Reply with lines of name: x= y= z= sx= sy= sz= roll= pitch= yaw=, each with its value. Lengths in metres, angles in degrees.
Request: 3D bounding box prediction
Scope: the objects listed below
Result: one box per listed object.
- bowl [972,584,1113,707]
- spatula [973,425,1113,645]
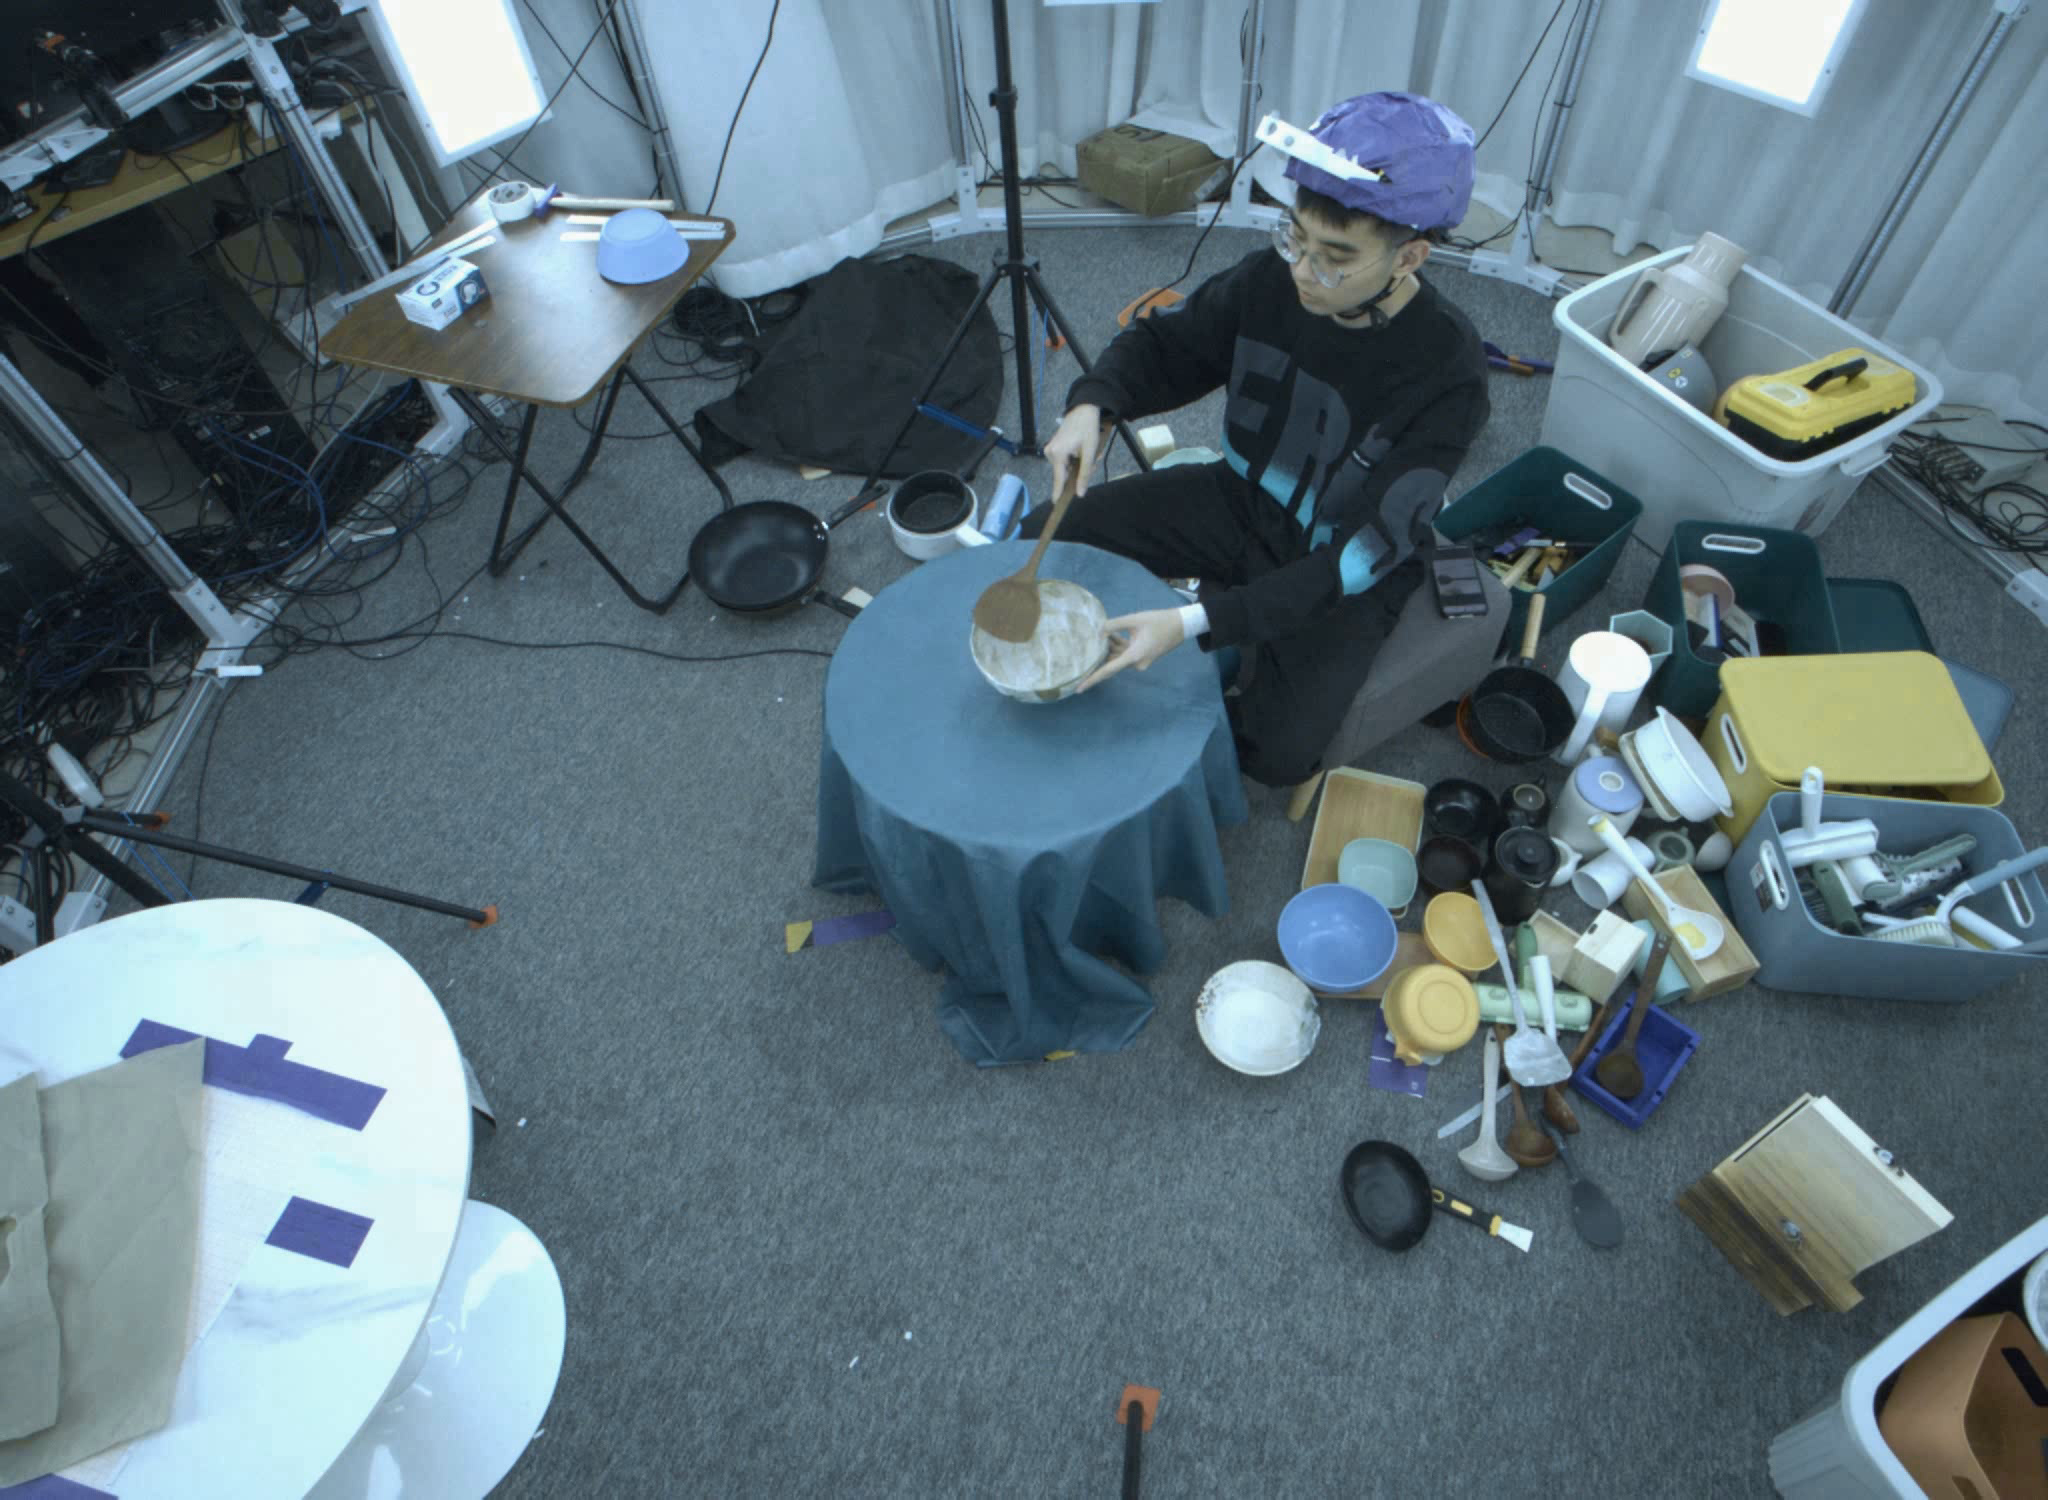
bowl: x=0.033 y=-0.139 z=1.811 sx=0.214 sy=0.096 sz=0.212 roll=-2 pitch=58 yaw=5
spatula: x=0.042 y=-0.327 z=1.801 sx=0.096 sy=0.016 sz=0.386 roll=26 pitch=78 yaw=1
